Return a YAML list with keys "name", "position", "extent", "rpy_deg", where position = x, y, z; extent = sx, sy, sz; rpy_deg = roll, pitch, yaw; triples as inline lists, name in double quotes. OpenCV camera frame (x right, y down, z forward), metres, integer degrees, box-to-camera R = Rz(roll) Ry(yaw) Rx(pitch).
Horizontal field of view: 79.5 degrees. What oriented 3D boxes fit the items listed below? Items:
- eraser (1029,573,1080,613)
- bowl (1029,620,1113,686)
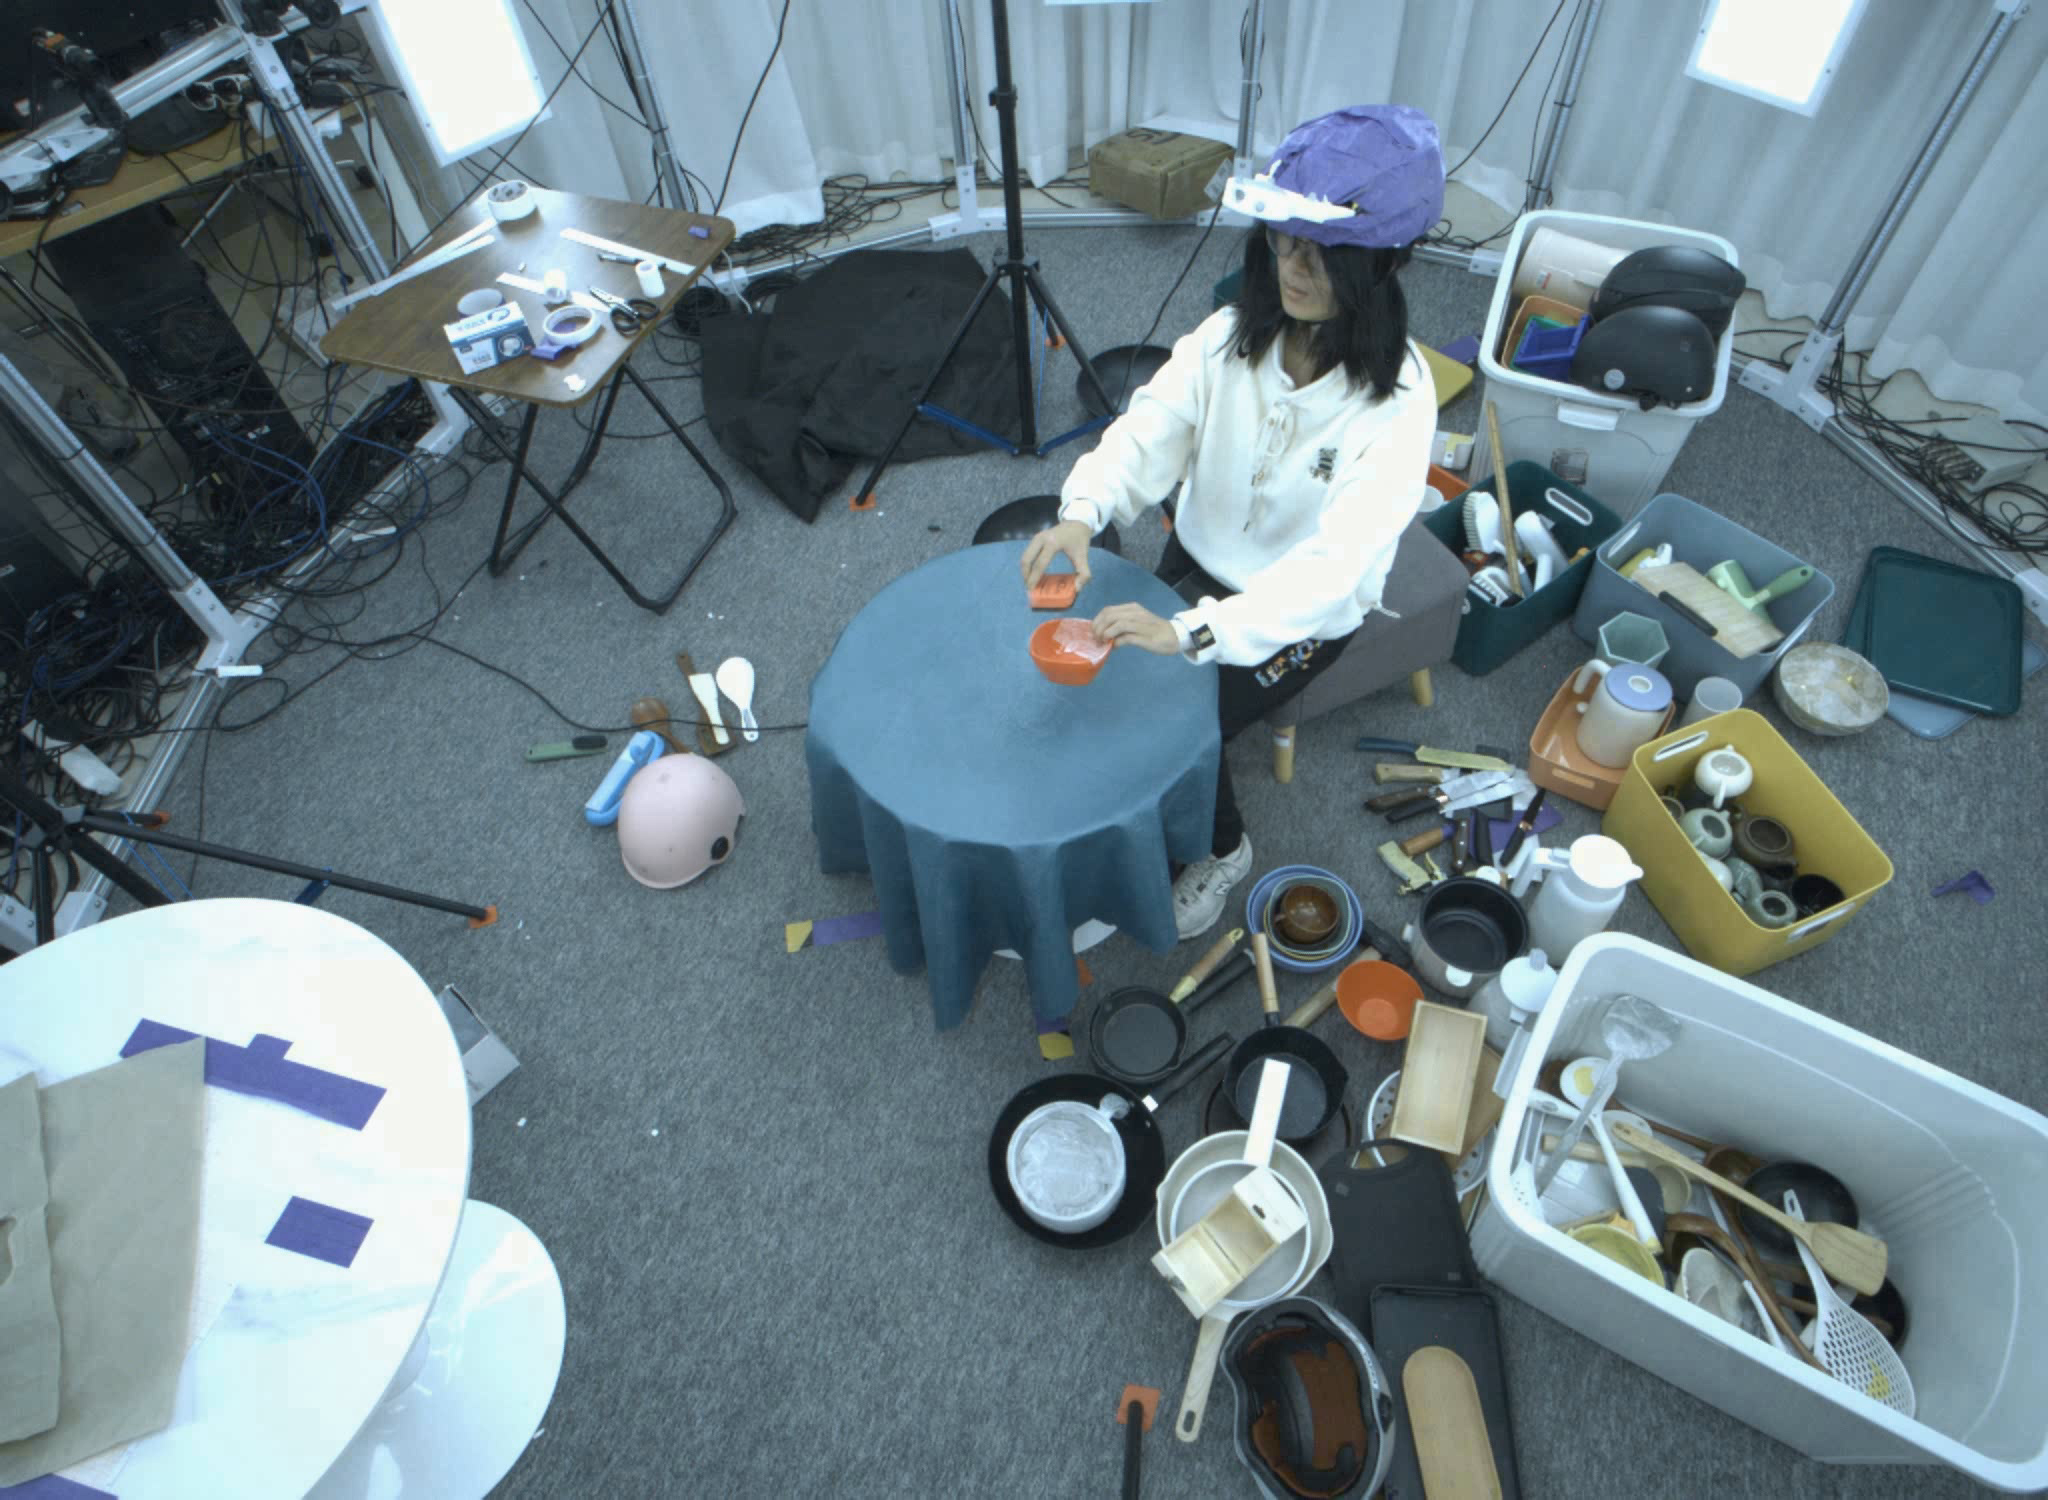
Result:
- name: "eraser"
  position: [0.043, -0.219, 1.709]
  extent: [0.058, 0.023, 0.108]
  rpy_deg: [1, 27, 11]
- name: "bowl"
  position: [0.063, -0.125, 1.638]
  extent: [0.119, 0.052, 0.118]
  rpy_deg: [-1, 36, 2]
